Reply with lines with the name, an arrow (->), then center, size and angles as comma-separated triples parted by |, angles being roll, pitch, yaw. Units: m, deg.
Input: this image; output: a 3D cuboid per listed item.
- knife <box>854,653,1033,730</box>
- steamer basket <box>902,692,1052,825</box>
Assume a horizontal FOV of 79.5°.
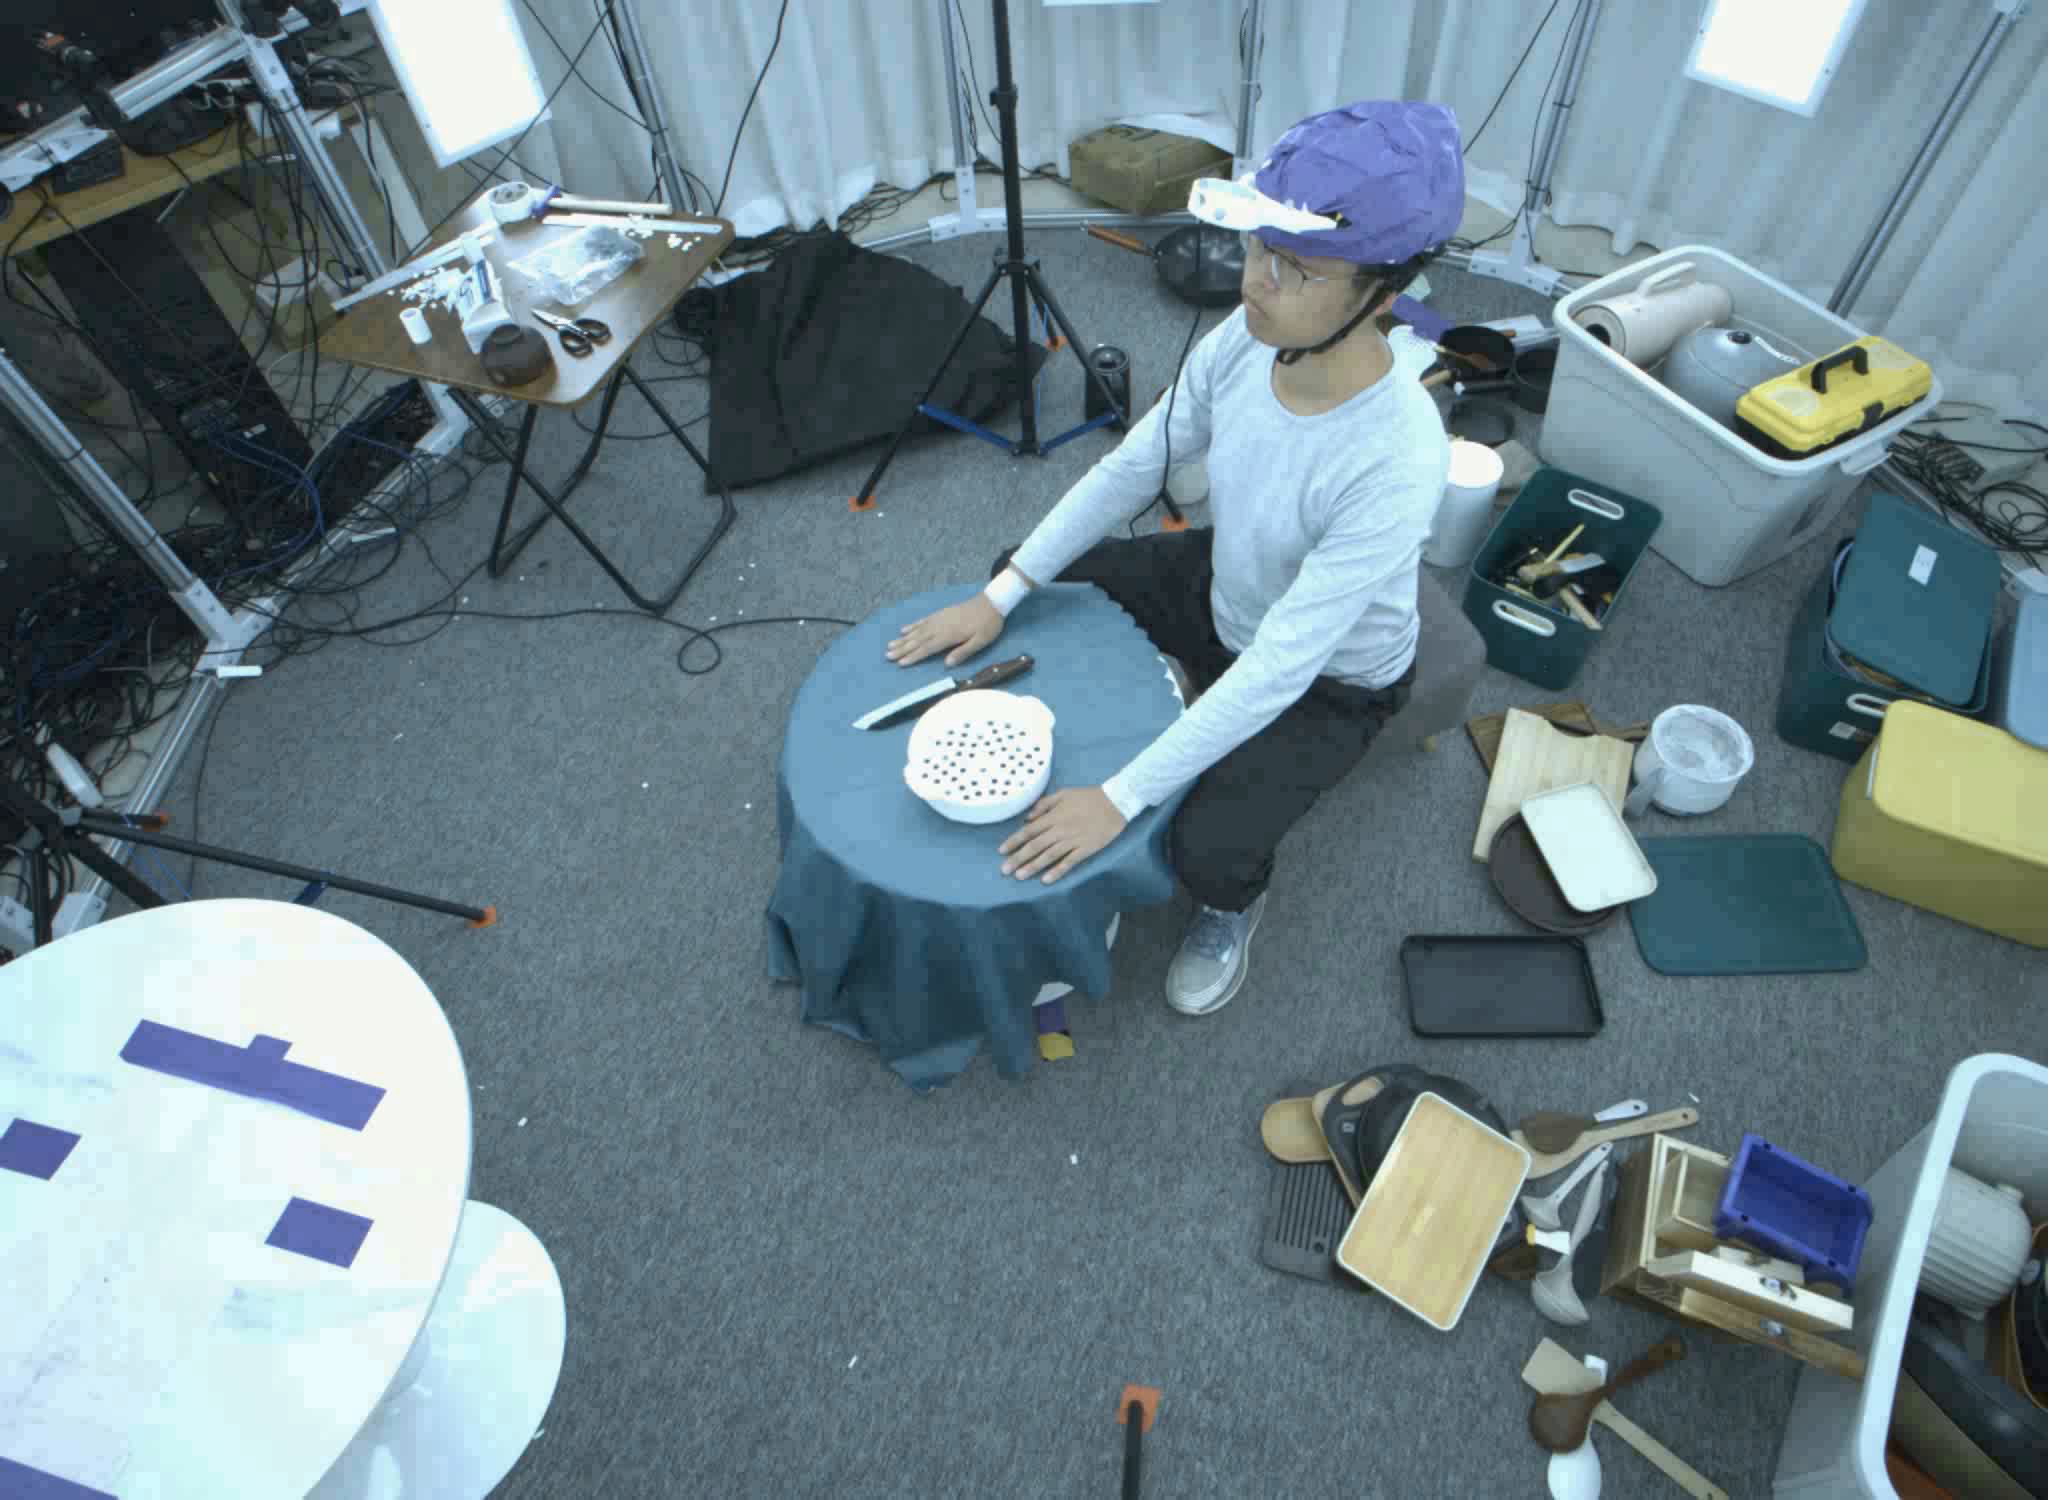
knife -> -0.121, -0.086, 1.851 | 0.291, 0.020, 0.049 | -22, 51, -11
steamer basket -> -0.064, 0.014, 1.746 | 0.232, 0.070, 0.198 | -31, 60, -20
